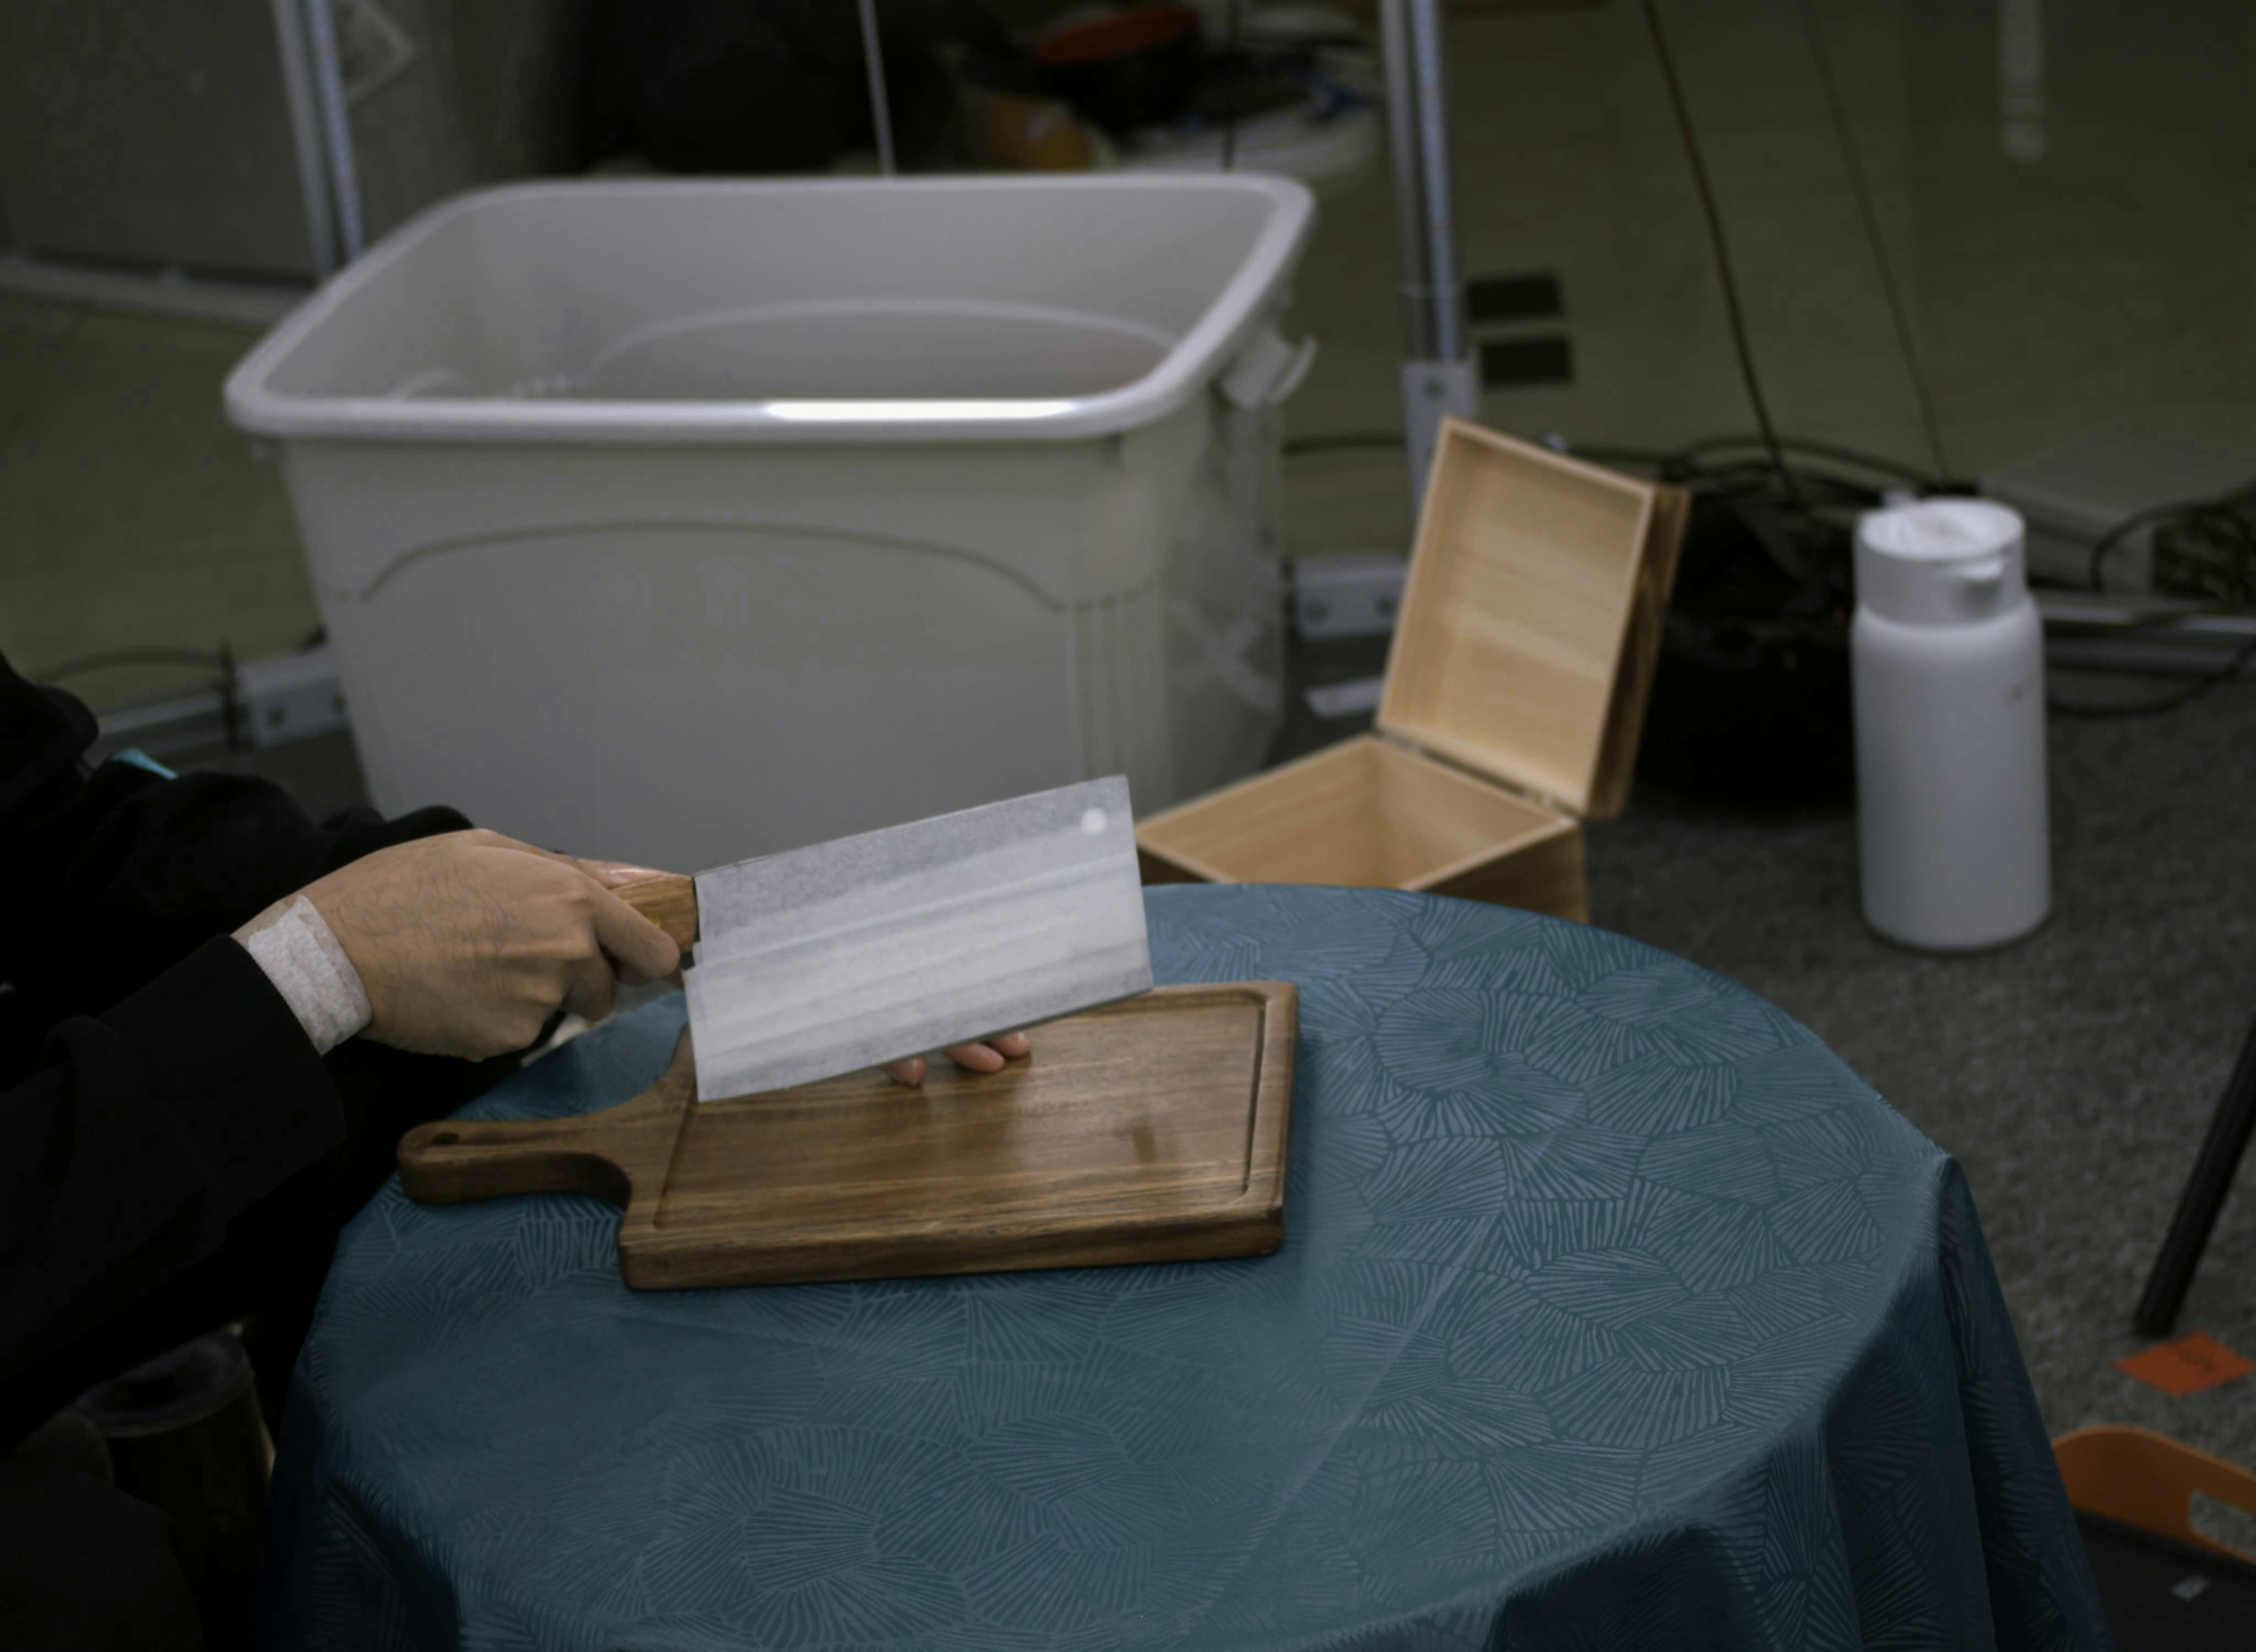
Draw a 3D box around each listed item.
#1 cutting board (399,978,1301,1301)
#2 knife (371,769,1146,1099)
[{"bbox_3d":[-0.109,0.123,2.191,0.351,0.023,0.198,-6,24,7],"label":"cutting board"},{"bbox_3d":[-0.134,0.052,2.136,0.304,0.094,0.021,-14,20,-20],"label":"knife"}]
